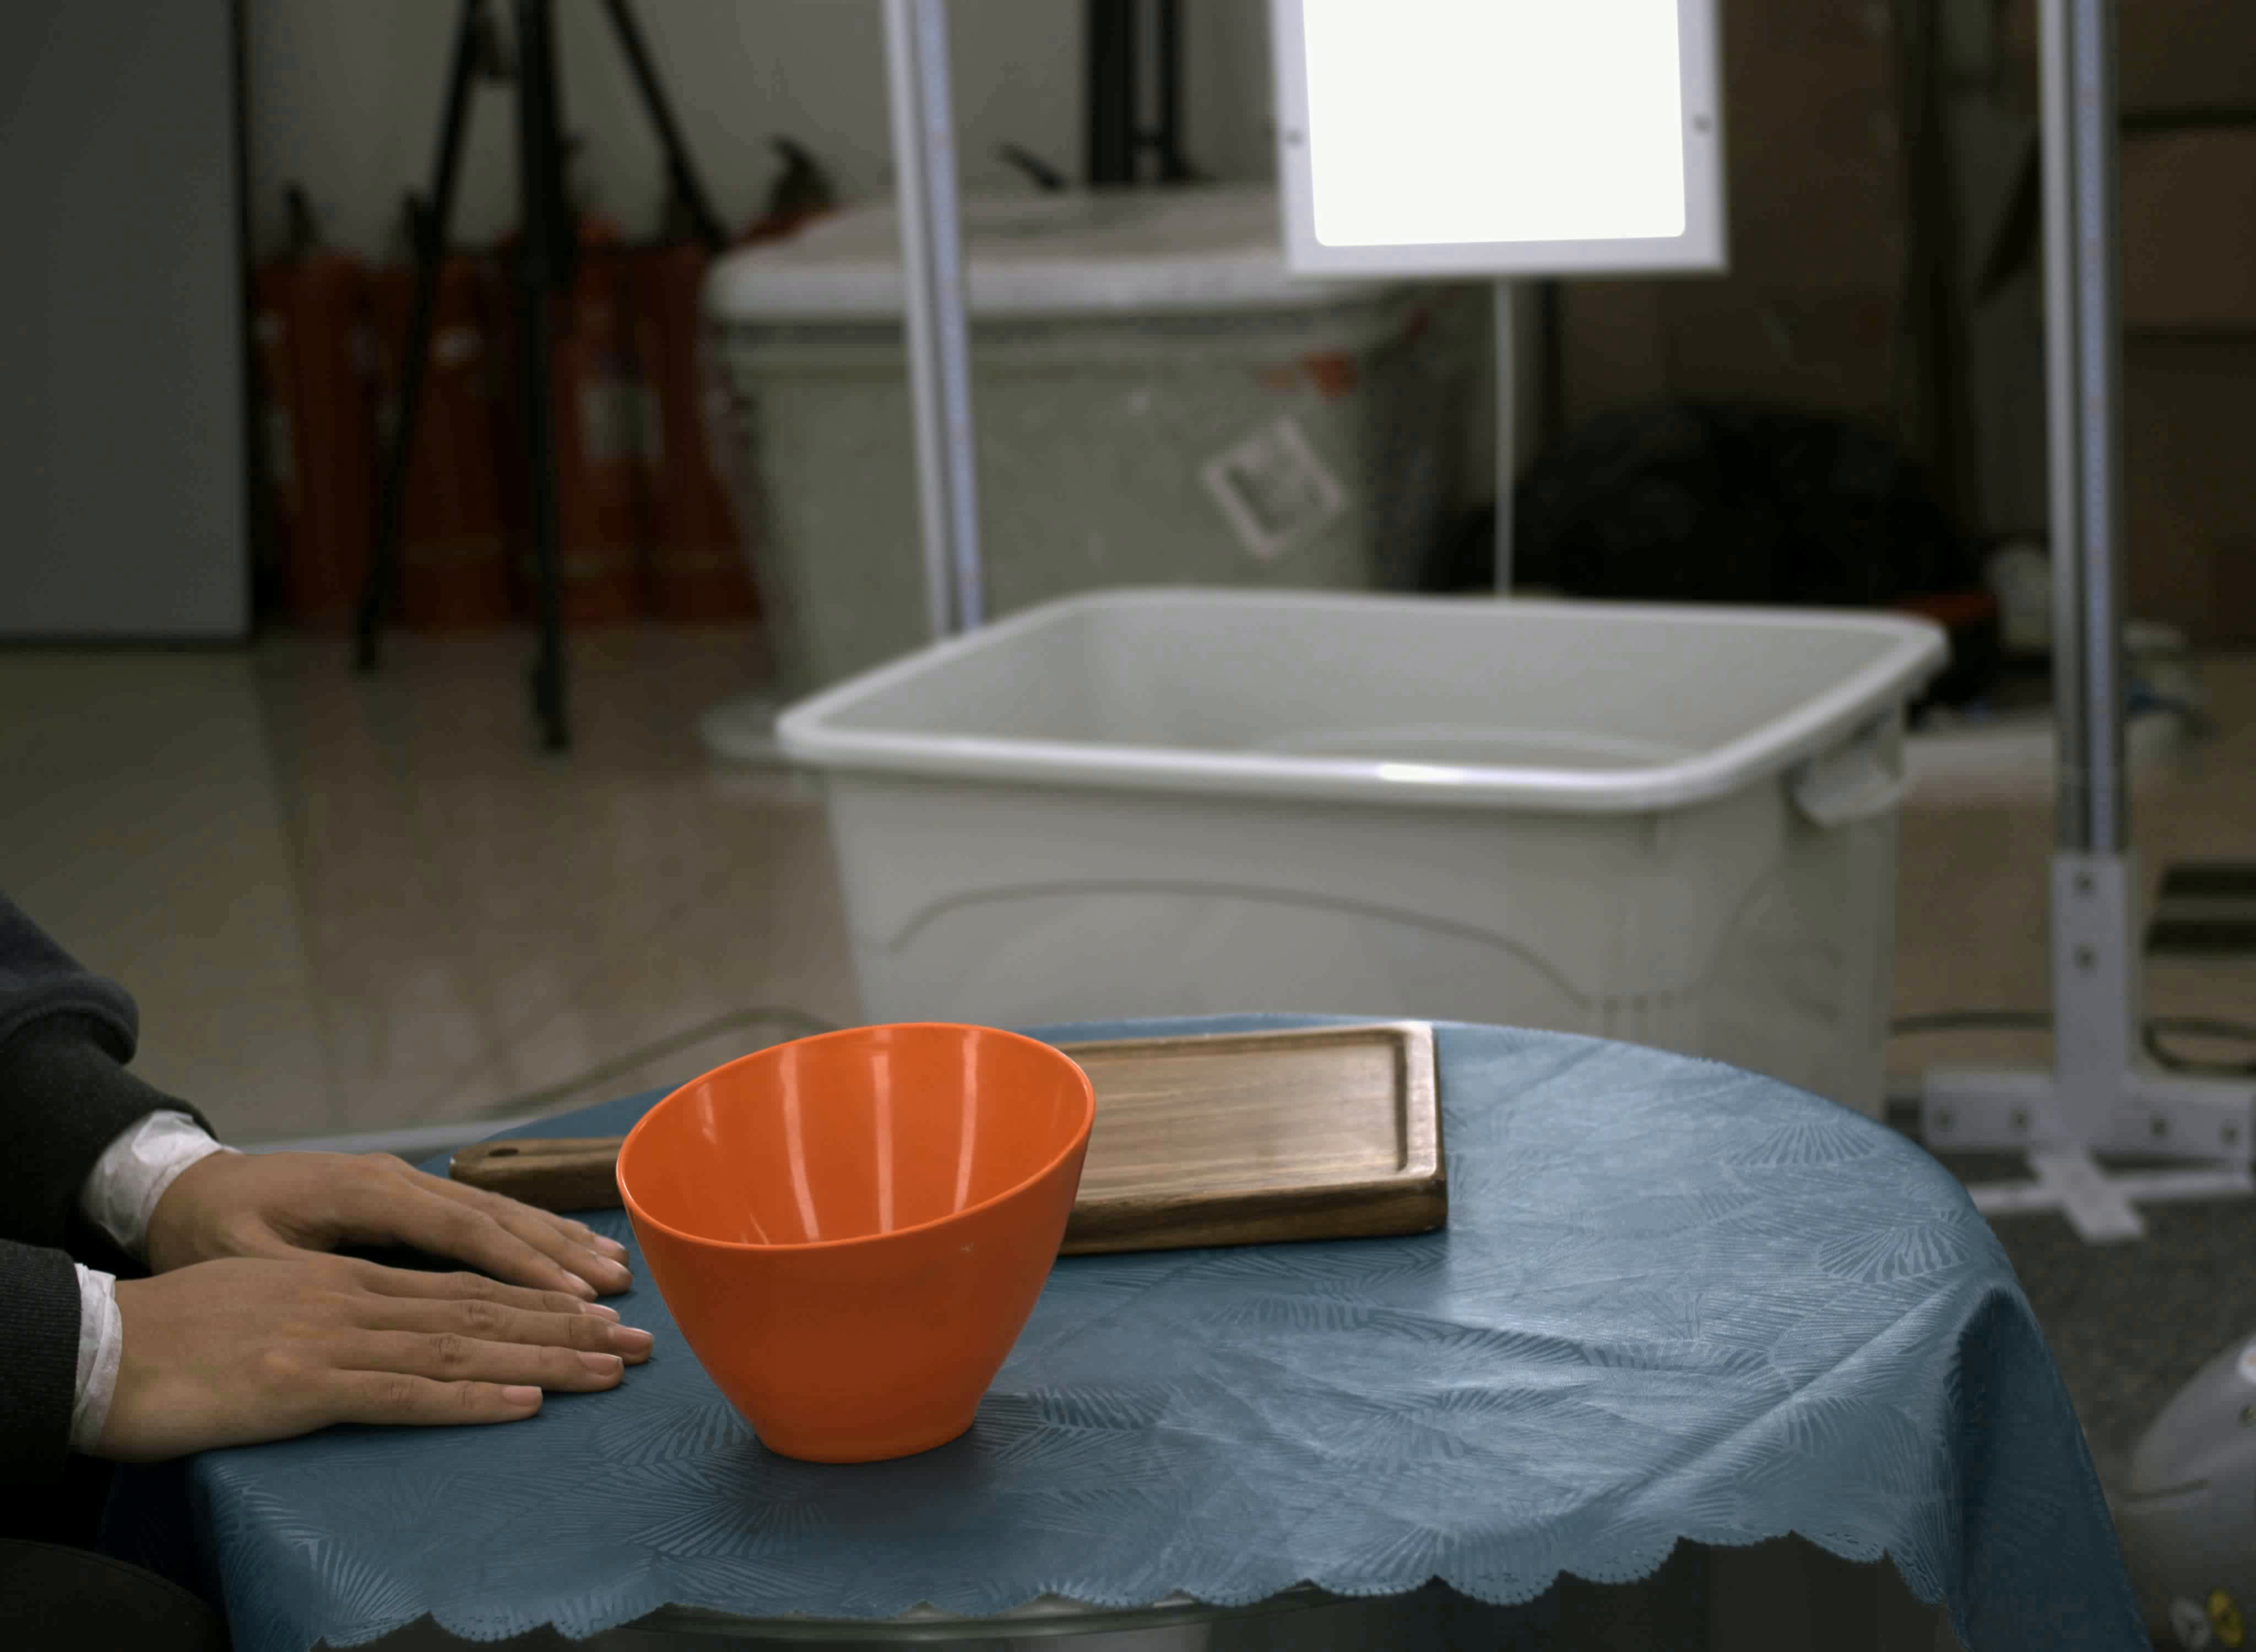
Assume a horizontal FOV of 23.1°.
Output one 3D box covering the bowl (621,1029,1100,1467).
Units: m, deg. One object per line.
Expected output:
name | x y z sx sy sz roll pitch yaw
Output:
bowl | -0.079 0.133 1.688 0.147 0.105 0.148 -4 14 0

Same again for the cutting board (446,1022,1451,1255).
cutting board | -0.064 0.114 1.930 0.353 0.023 0.200 -4 14 5
